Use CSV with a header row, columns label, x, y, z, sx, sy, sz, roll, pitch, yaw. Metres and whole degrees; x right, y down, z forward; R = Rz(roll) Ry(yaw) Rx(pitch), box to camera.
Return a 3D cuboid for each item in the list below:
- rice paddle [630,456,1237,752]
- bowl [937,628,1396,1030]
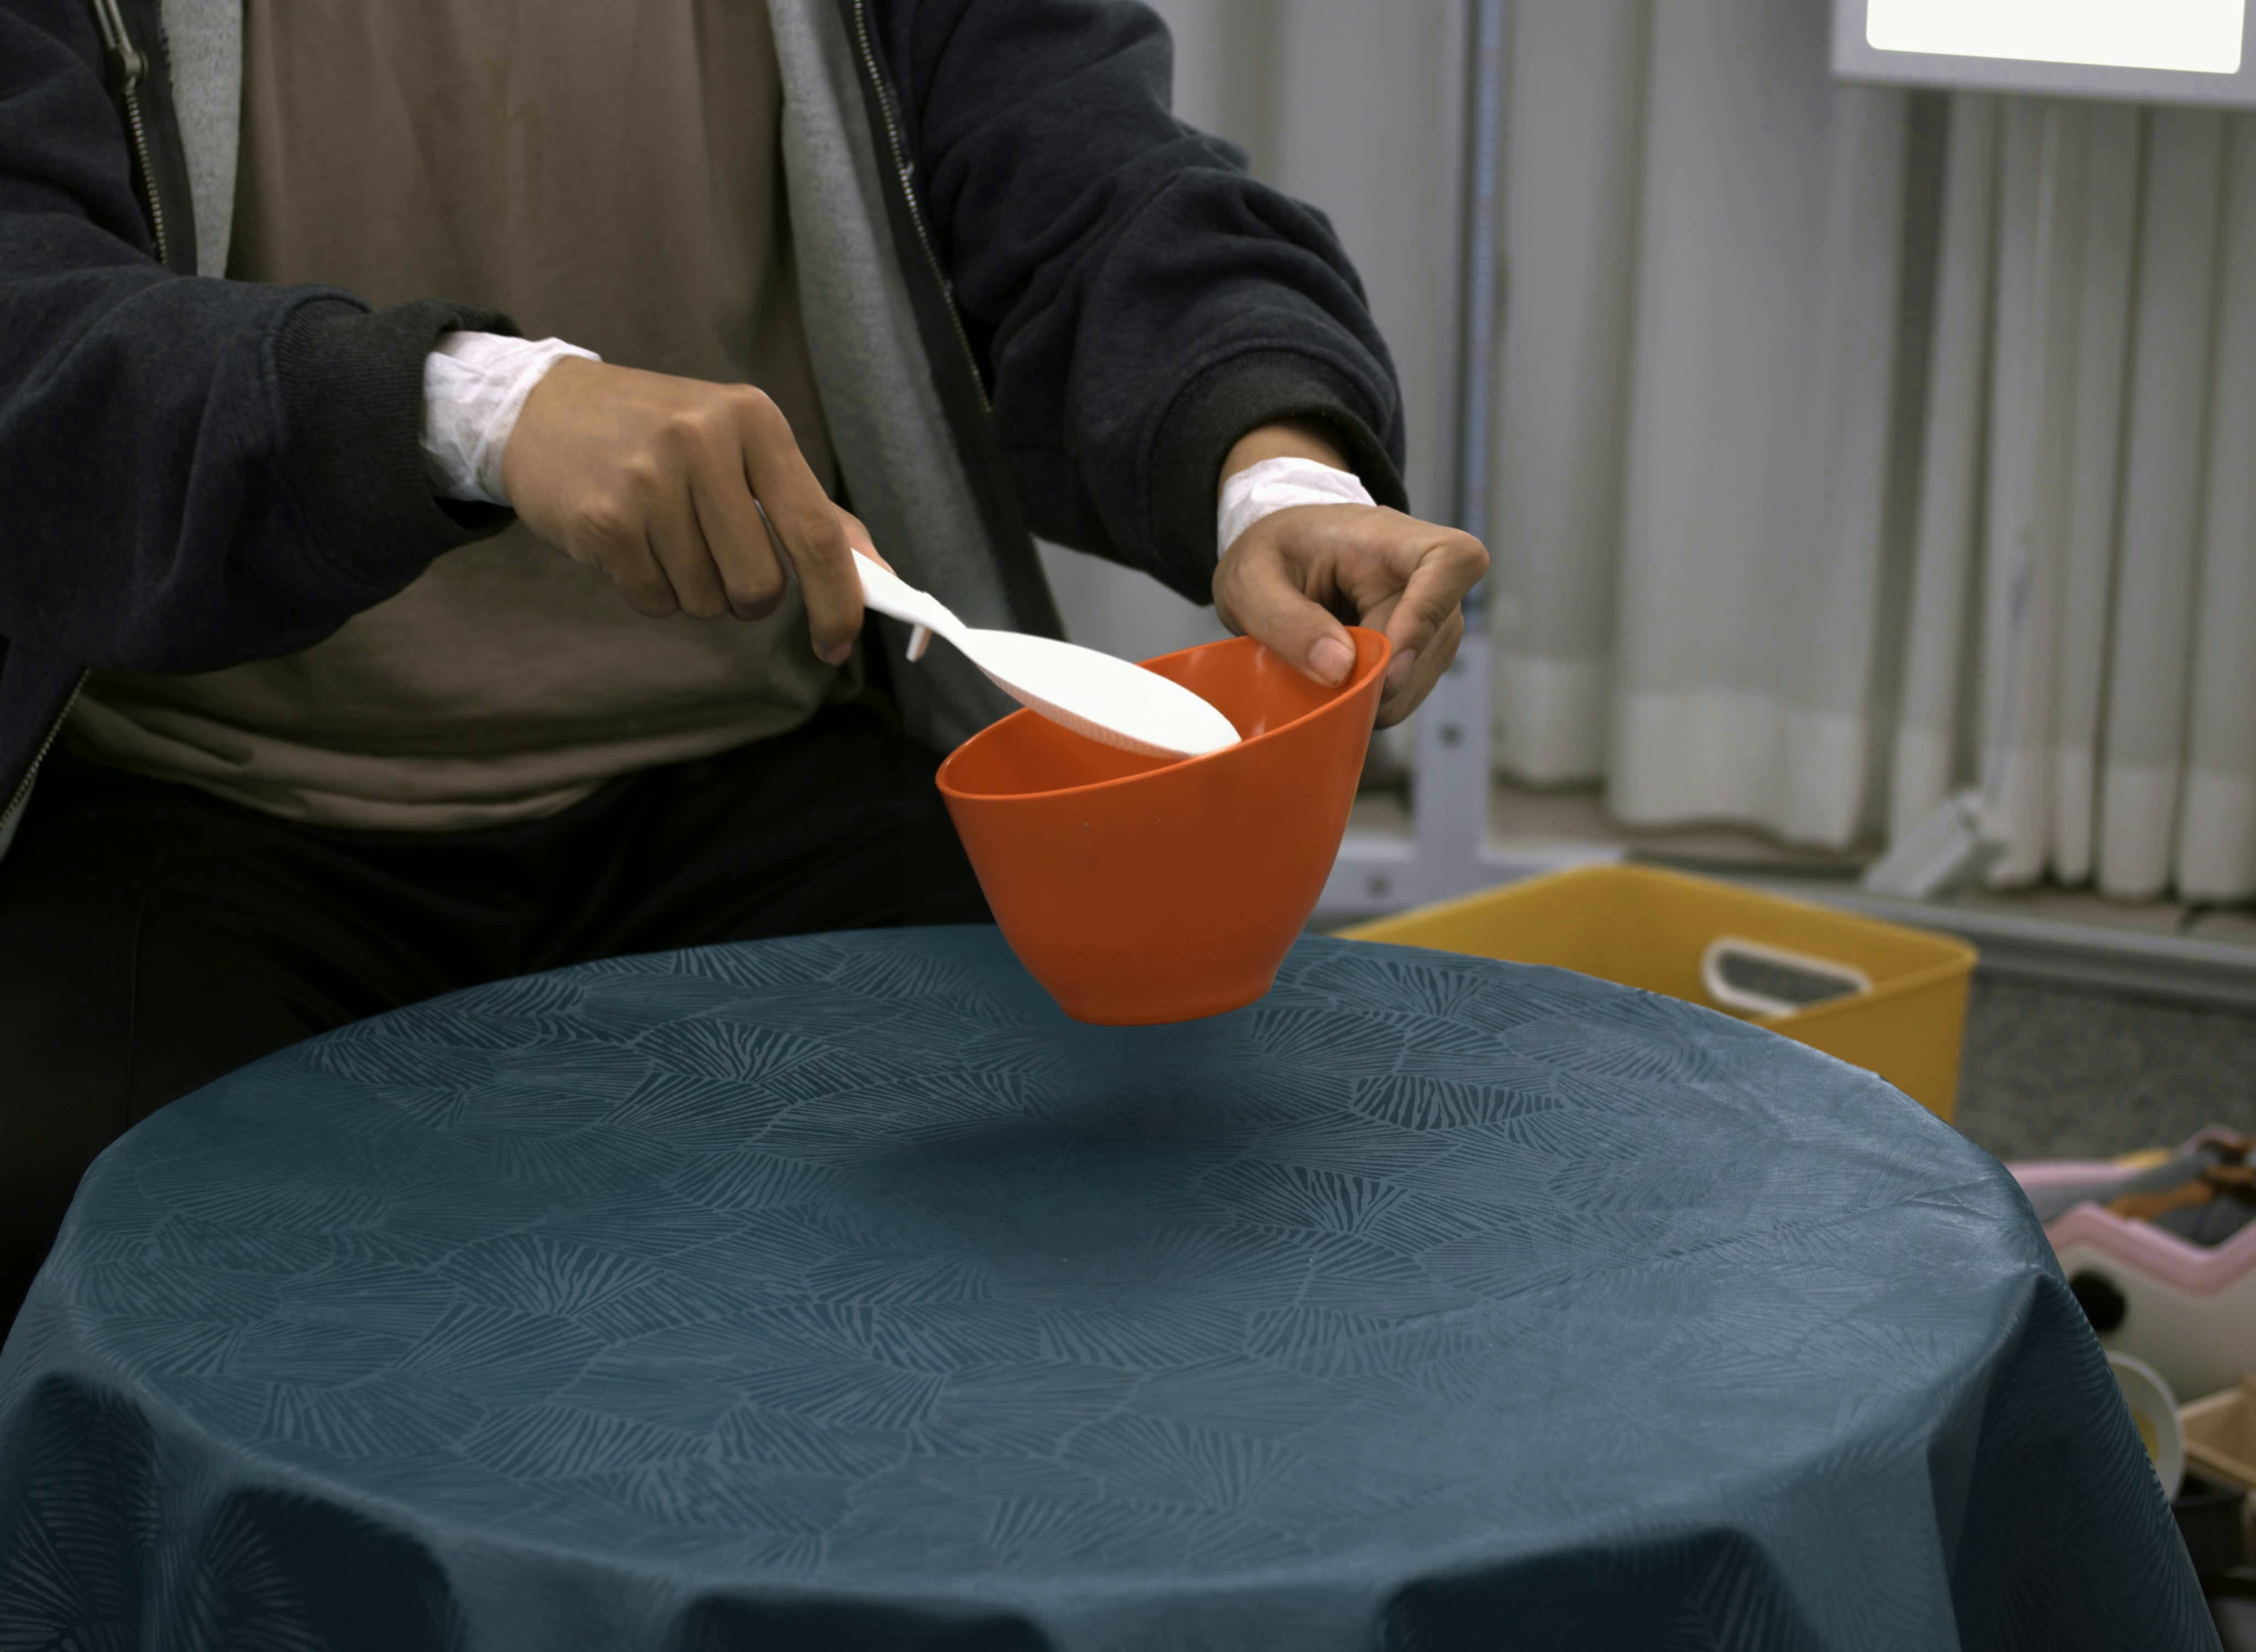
label,x,y,z,sx,sy,sz,roll,pitch,yaw
rice paddle,-0.059,-0.067,1.664,0.204,0.029,0.068,22,20,6
bowl,0.017,0.004,1.656,0.147,0.105,0.147,-7,14,2
